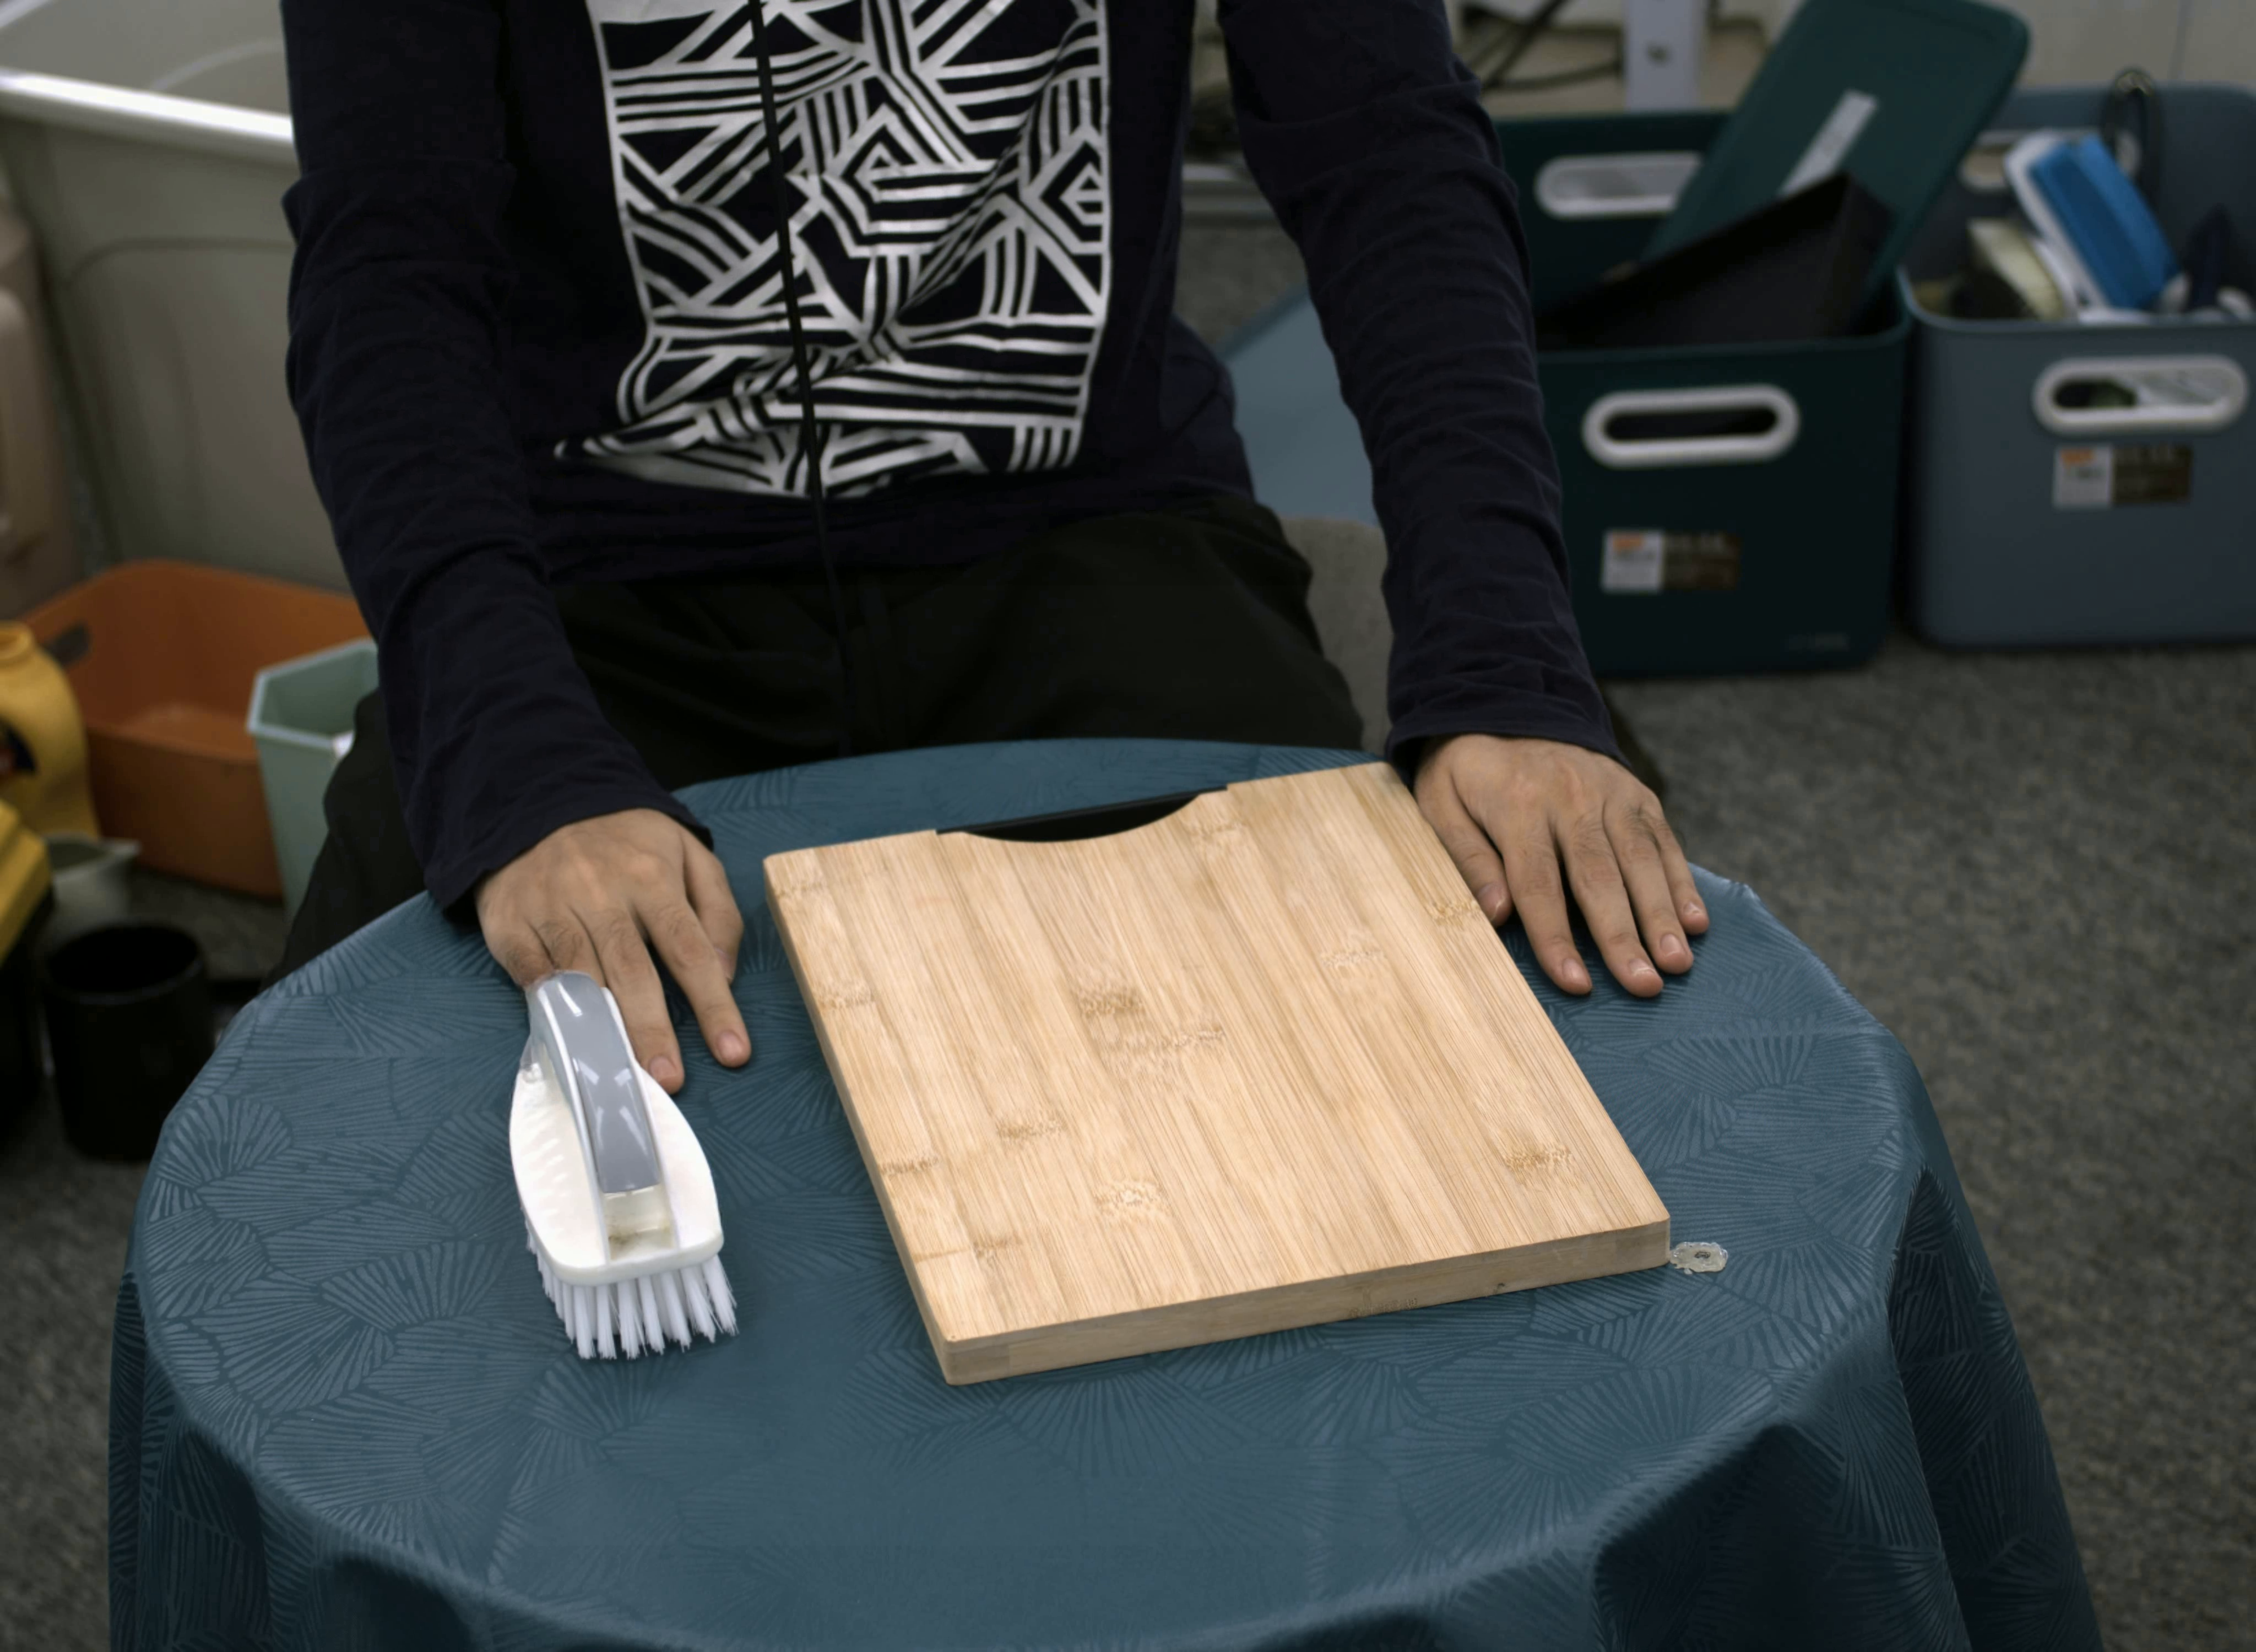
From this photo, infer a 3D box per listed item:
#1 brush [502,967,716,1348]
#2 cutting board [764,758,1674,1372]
[{"bbox_3d":[-0.177,0.093,1.834,0.061,0.093,0.177,-9,25,-12],"label":"brush"},{"bbox_3d":[0.021,0.075,1.930,0.250,0.023,0.352,-8,28,-11],"label":"cutting board"}]
